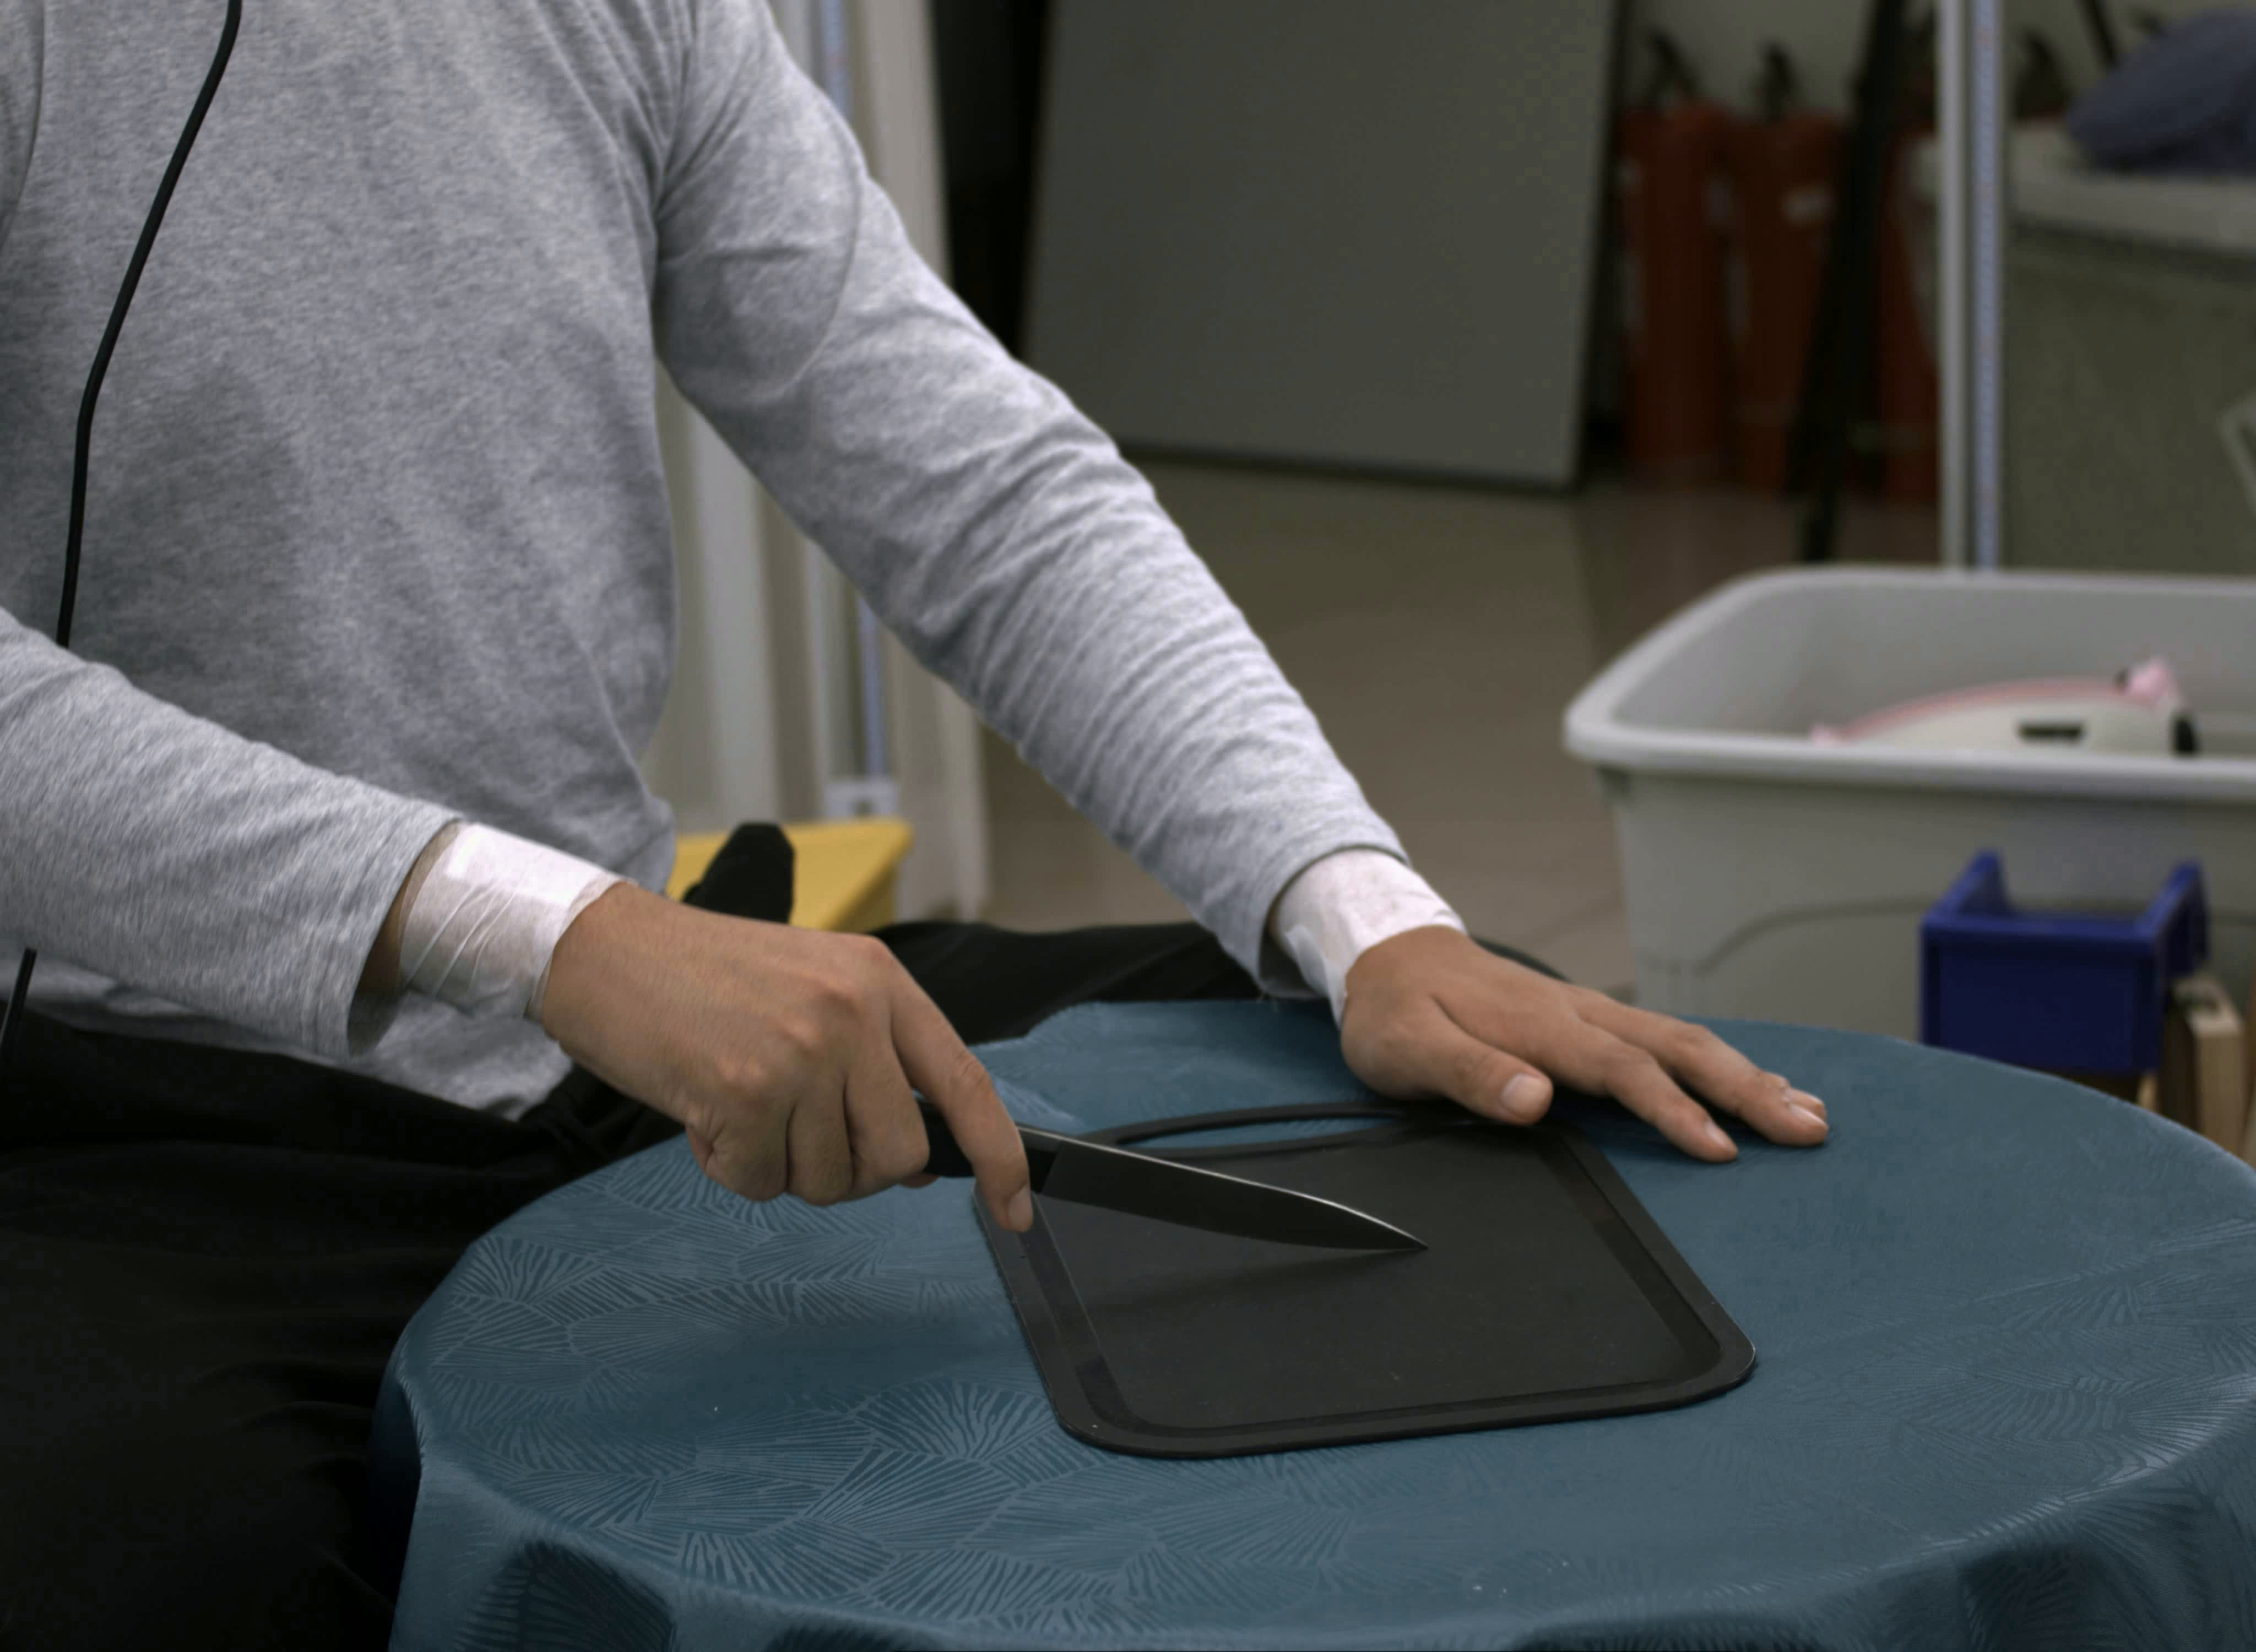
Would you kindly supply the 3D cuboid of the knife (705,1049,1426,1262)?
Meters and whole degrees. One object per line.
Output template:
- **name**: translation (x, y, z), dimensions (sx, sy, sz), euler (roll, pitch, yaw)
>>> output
- **knife**: translation (-0.016, 0.104, 1.666), dimensions (0.234, 0.025, 0.016), euler (15, 23, -12)

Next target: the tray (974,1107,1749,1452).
- **tray**: translation (0.064, 0.135, 1.688), dimensions (0.208, 0.010, 0.327), euler (-5, 13, -6)
